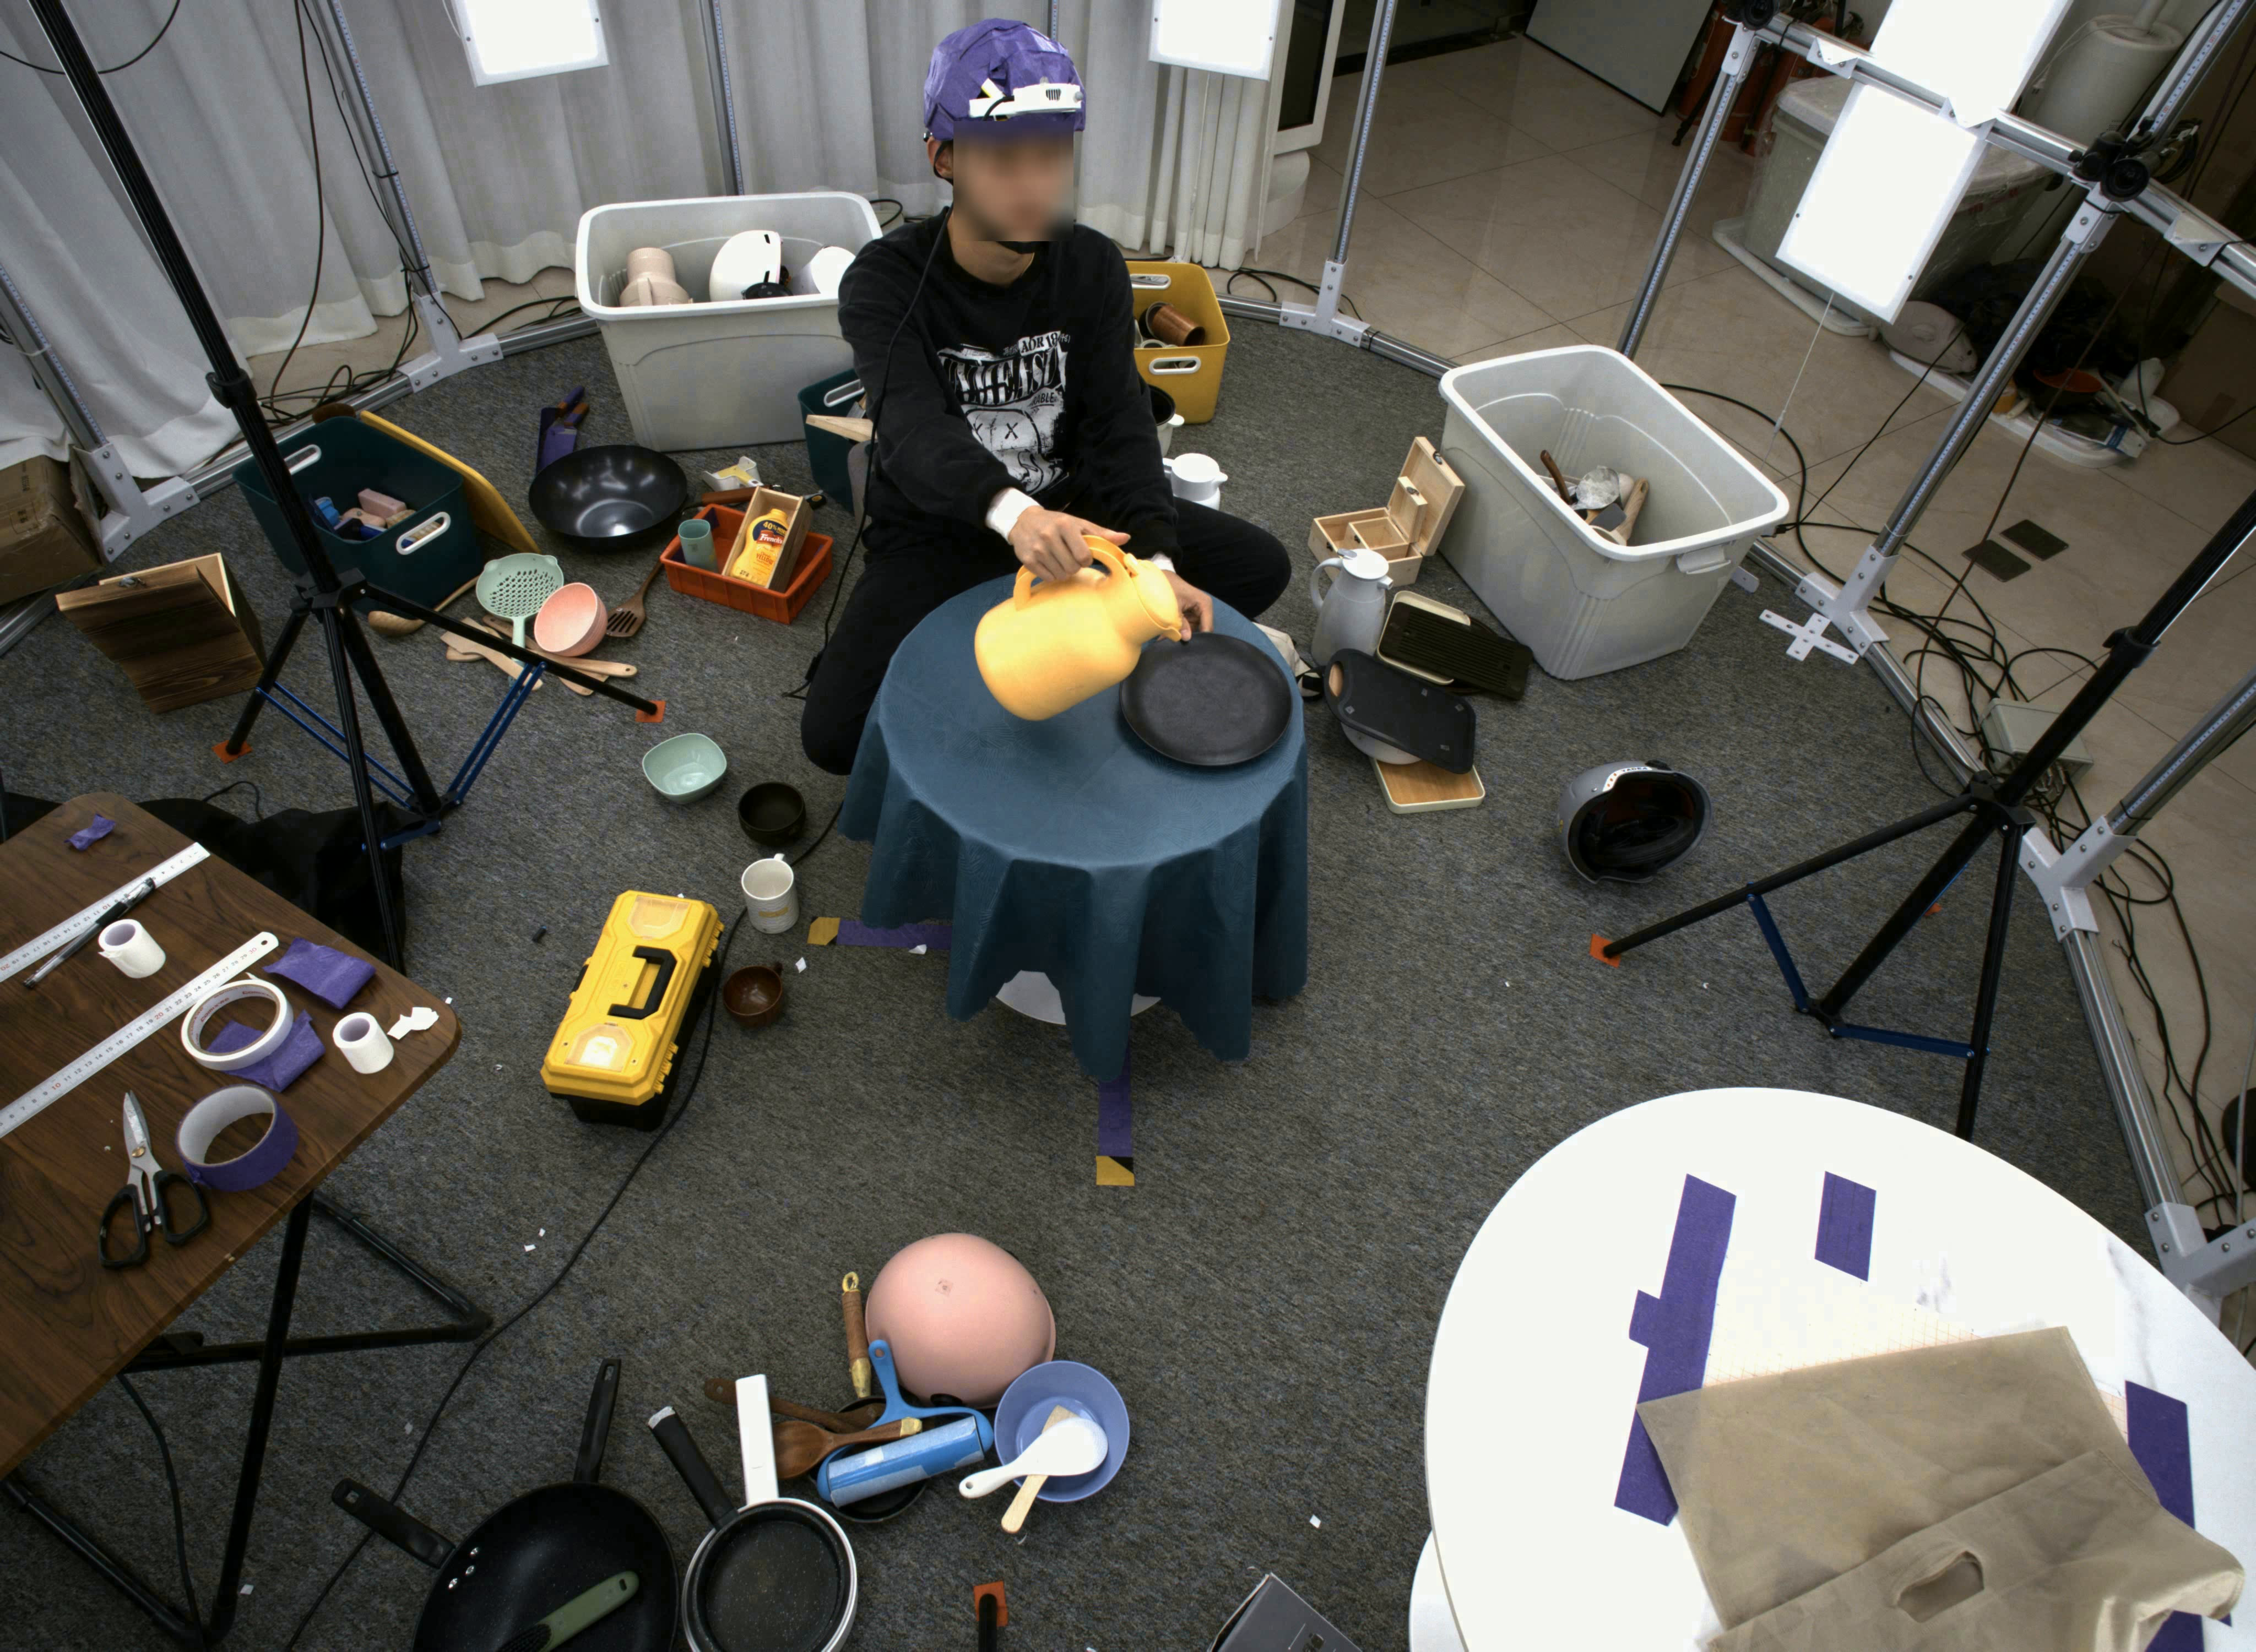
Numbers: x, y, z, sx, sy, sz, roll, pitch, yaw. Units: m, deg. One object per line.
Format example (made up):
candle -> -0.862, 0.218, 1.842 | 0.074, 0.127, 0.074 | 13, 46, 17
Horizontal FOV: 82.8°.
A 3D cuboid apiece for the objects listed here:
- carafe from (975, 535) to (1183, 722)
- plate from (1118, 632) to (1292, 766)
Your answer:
carafe -> -0.072, -0.261, 1.646 | 0.259, 0.198, 0.167 | -25, 37, 27
plate -> 0.108, -0.176, 1.803 | 0.244, 0.023, 0.250 | 1, 54, -2
